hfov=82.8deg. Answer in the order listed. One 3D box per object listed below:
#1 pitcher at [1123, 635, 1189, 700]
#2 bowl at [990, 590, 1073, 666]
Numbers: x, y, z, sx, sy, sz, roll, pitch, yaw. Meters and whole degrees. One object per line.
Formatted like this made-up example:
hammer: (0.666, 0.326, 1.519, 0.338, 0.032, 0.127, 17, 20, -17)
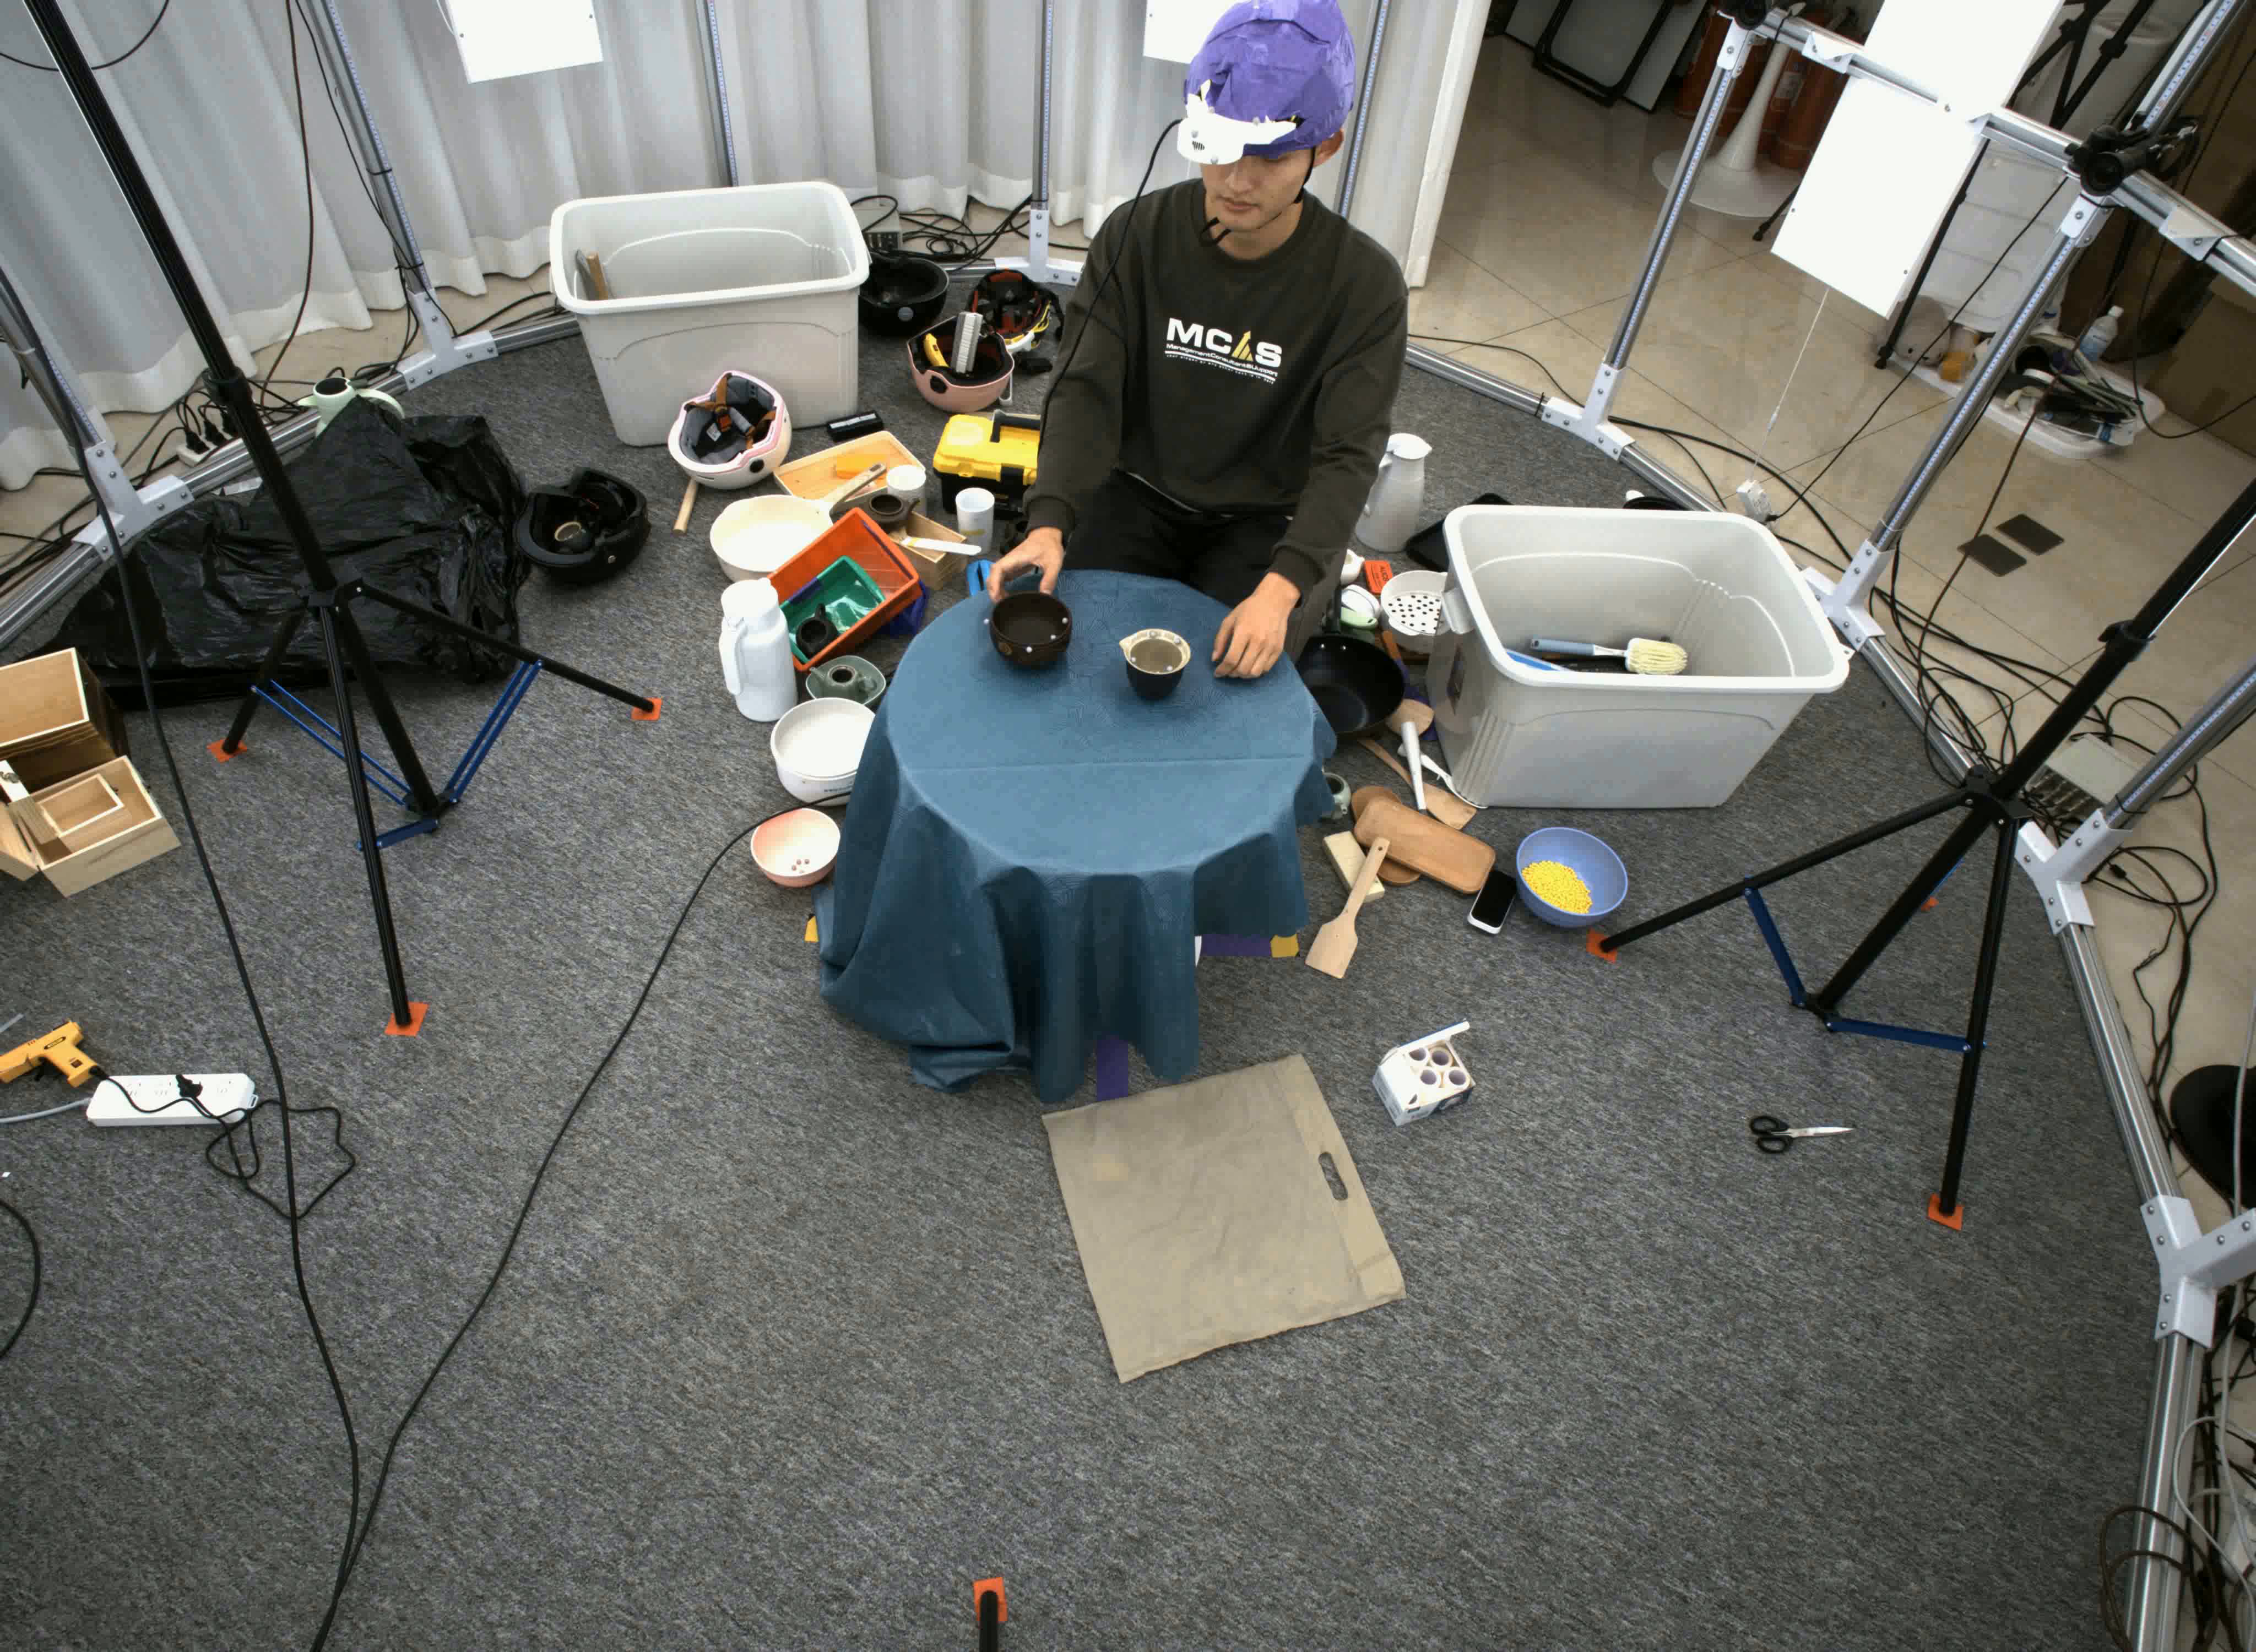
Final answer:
pitcher: (0.036, -0.222, 1.813, 0.096, 0.069, 0.085, 21, 53, 15)
bowl: (-0.138, -0.276, 1.846, 0.118, 0.068, 0.121, 3, 48, -3)
